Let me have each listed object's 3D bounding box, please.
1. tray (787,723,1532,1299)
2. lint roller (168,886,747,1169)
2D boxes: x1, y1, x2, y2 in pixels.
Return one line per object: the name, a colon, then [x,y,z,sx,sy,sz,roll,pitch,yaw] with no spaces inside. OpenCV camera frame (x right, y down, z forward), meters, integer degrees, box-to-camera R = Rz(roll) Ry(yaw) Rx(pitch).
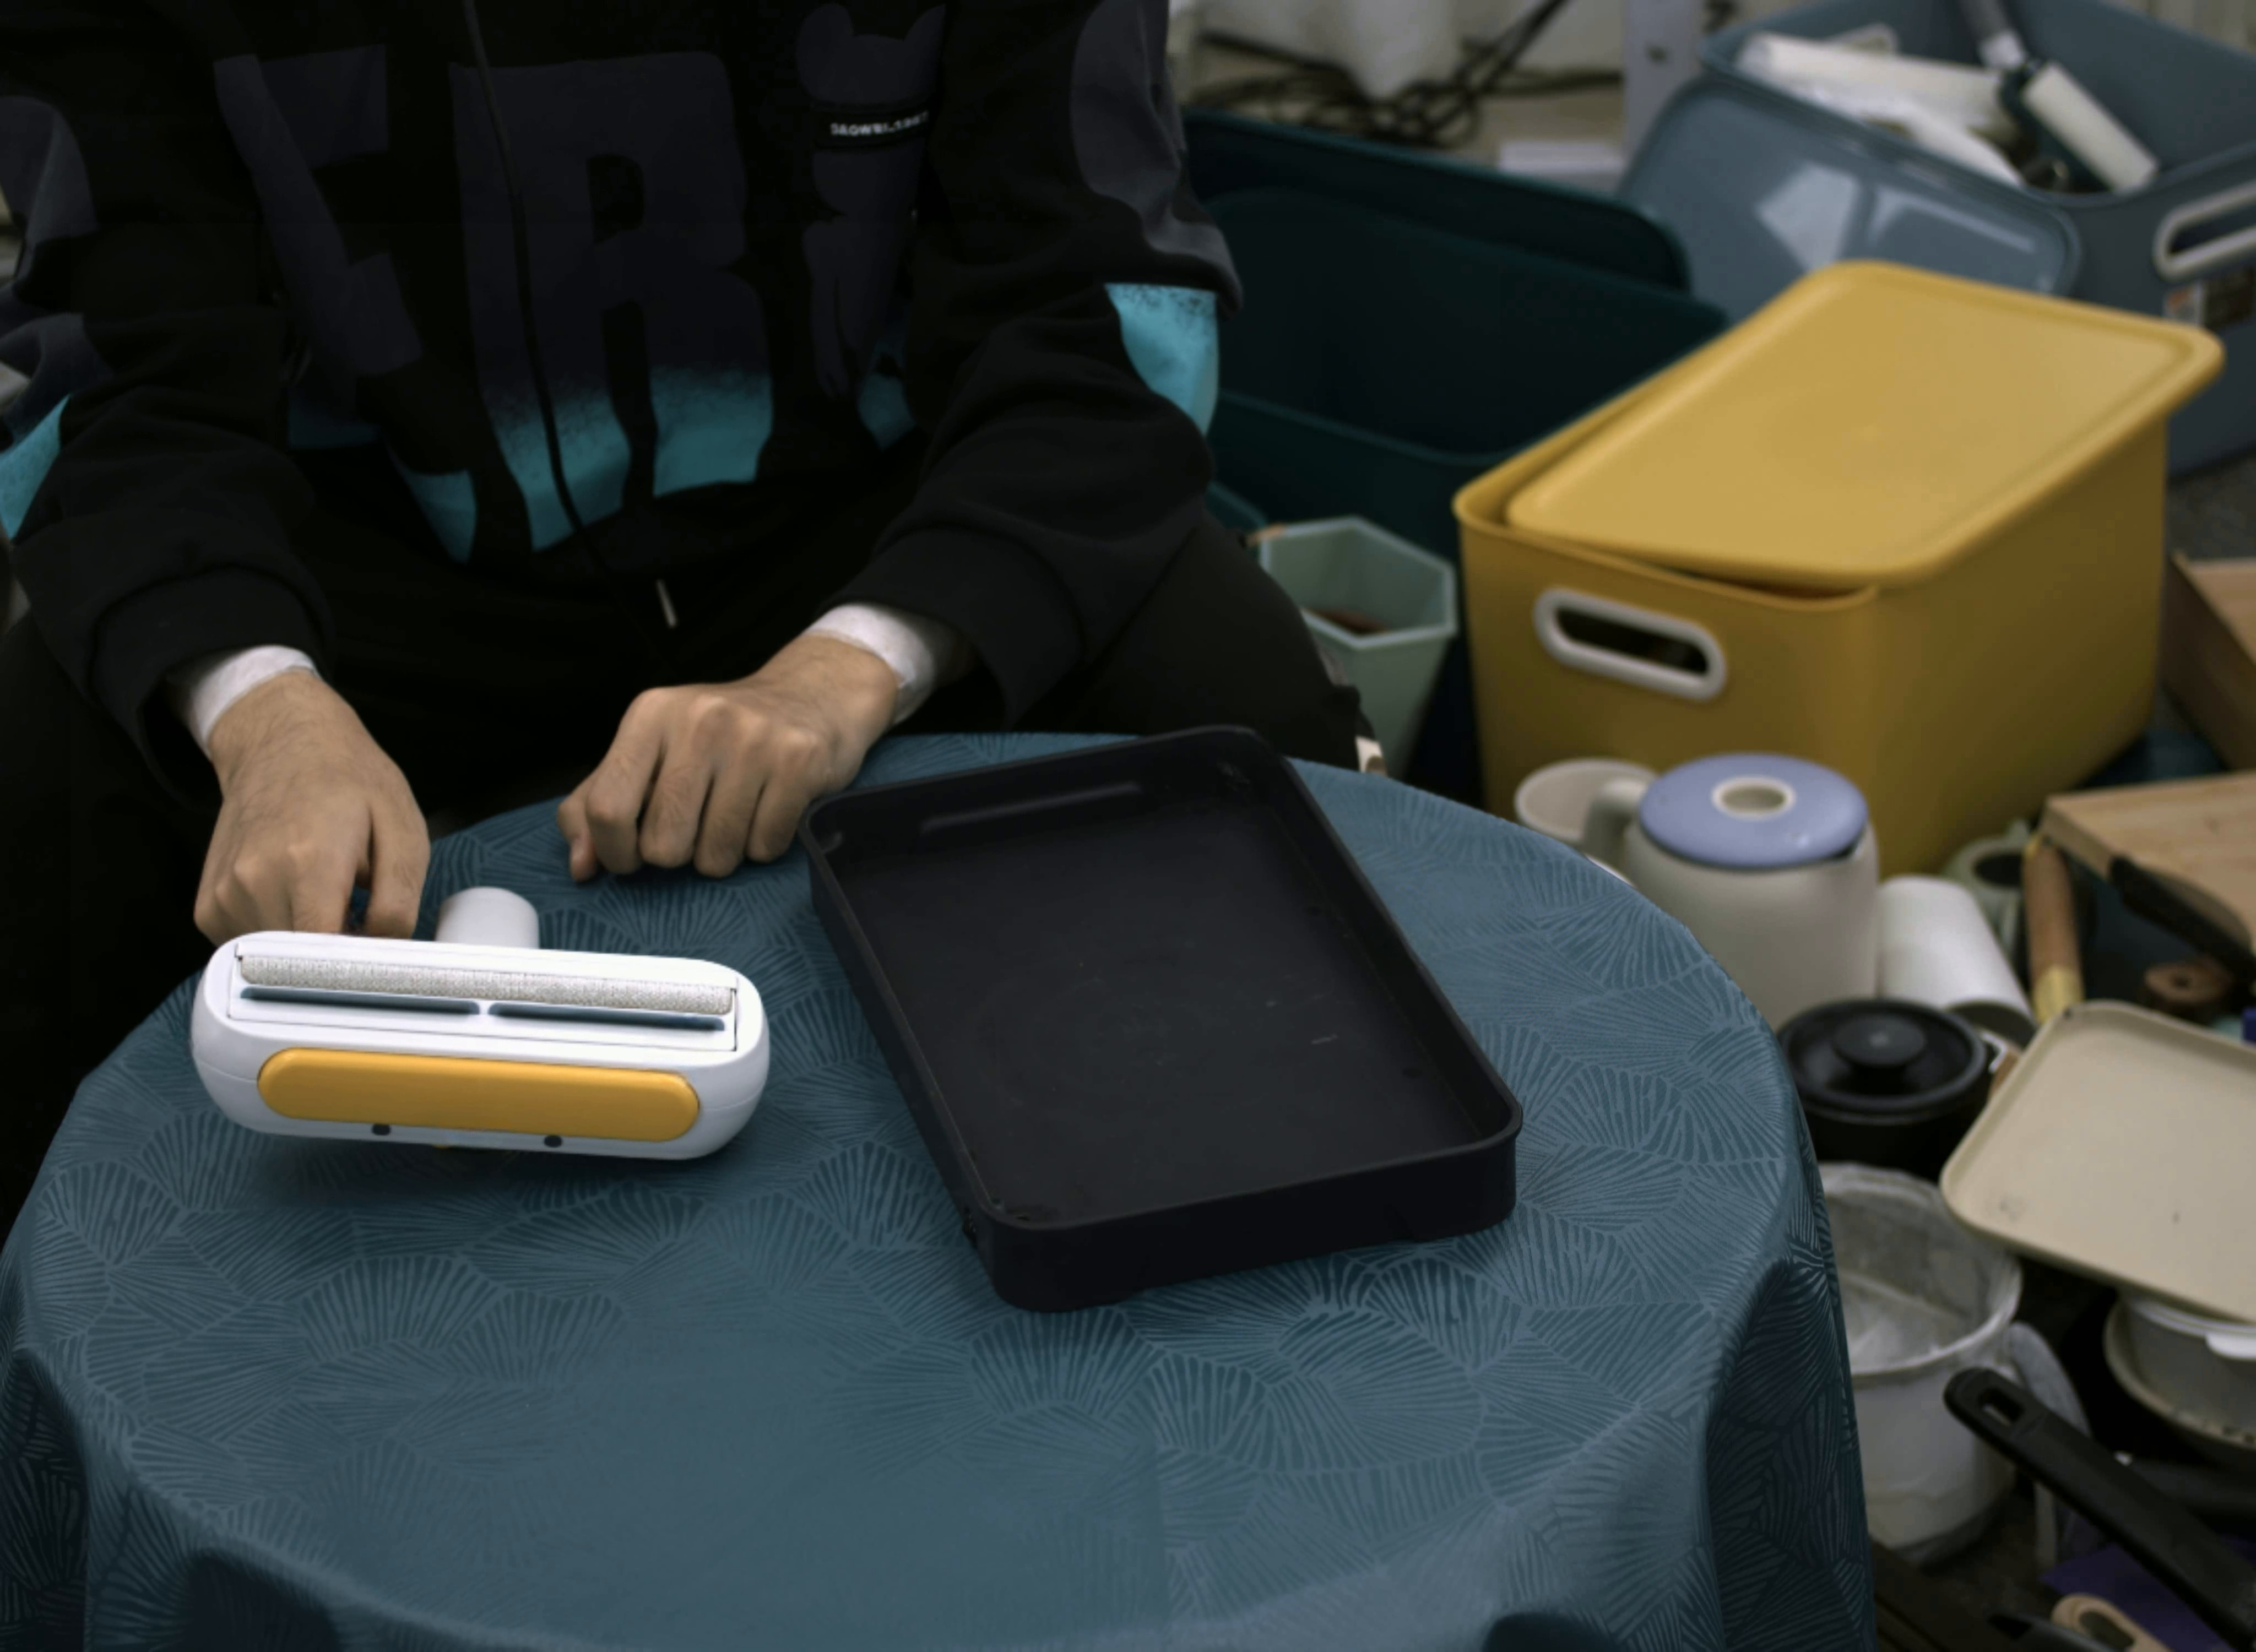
tray: [0.005,0.058,1.943,0.184,0.036,0.321,-10,28,-14]
lint roller: [-0.225,0.055,1.939,0.192,0.073,0.195,2,25,-2]
